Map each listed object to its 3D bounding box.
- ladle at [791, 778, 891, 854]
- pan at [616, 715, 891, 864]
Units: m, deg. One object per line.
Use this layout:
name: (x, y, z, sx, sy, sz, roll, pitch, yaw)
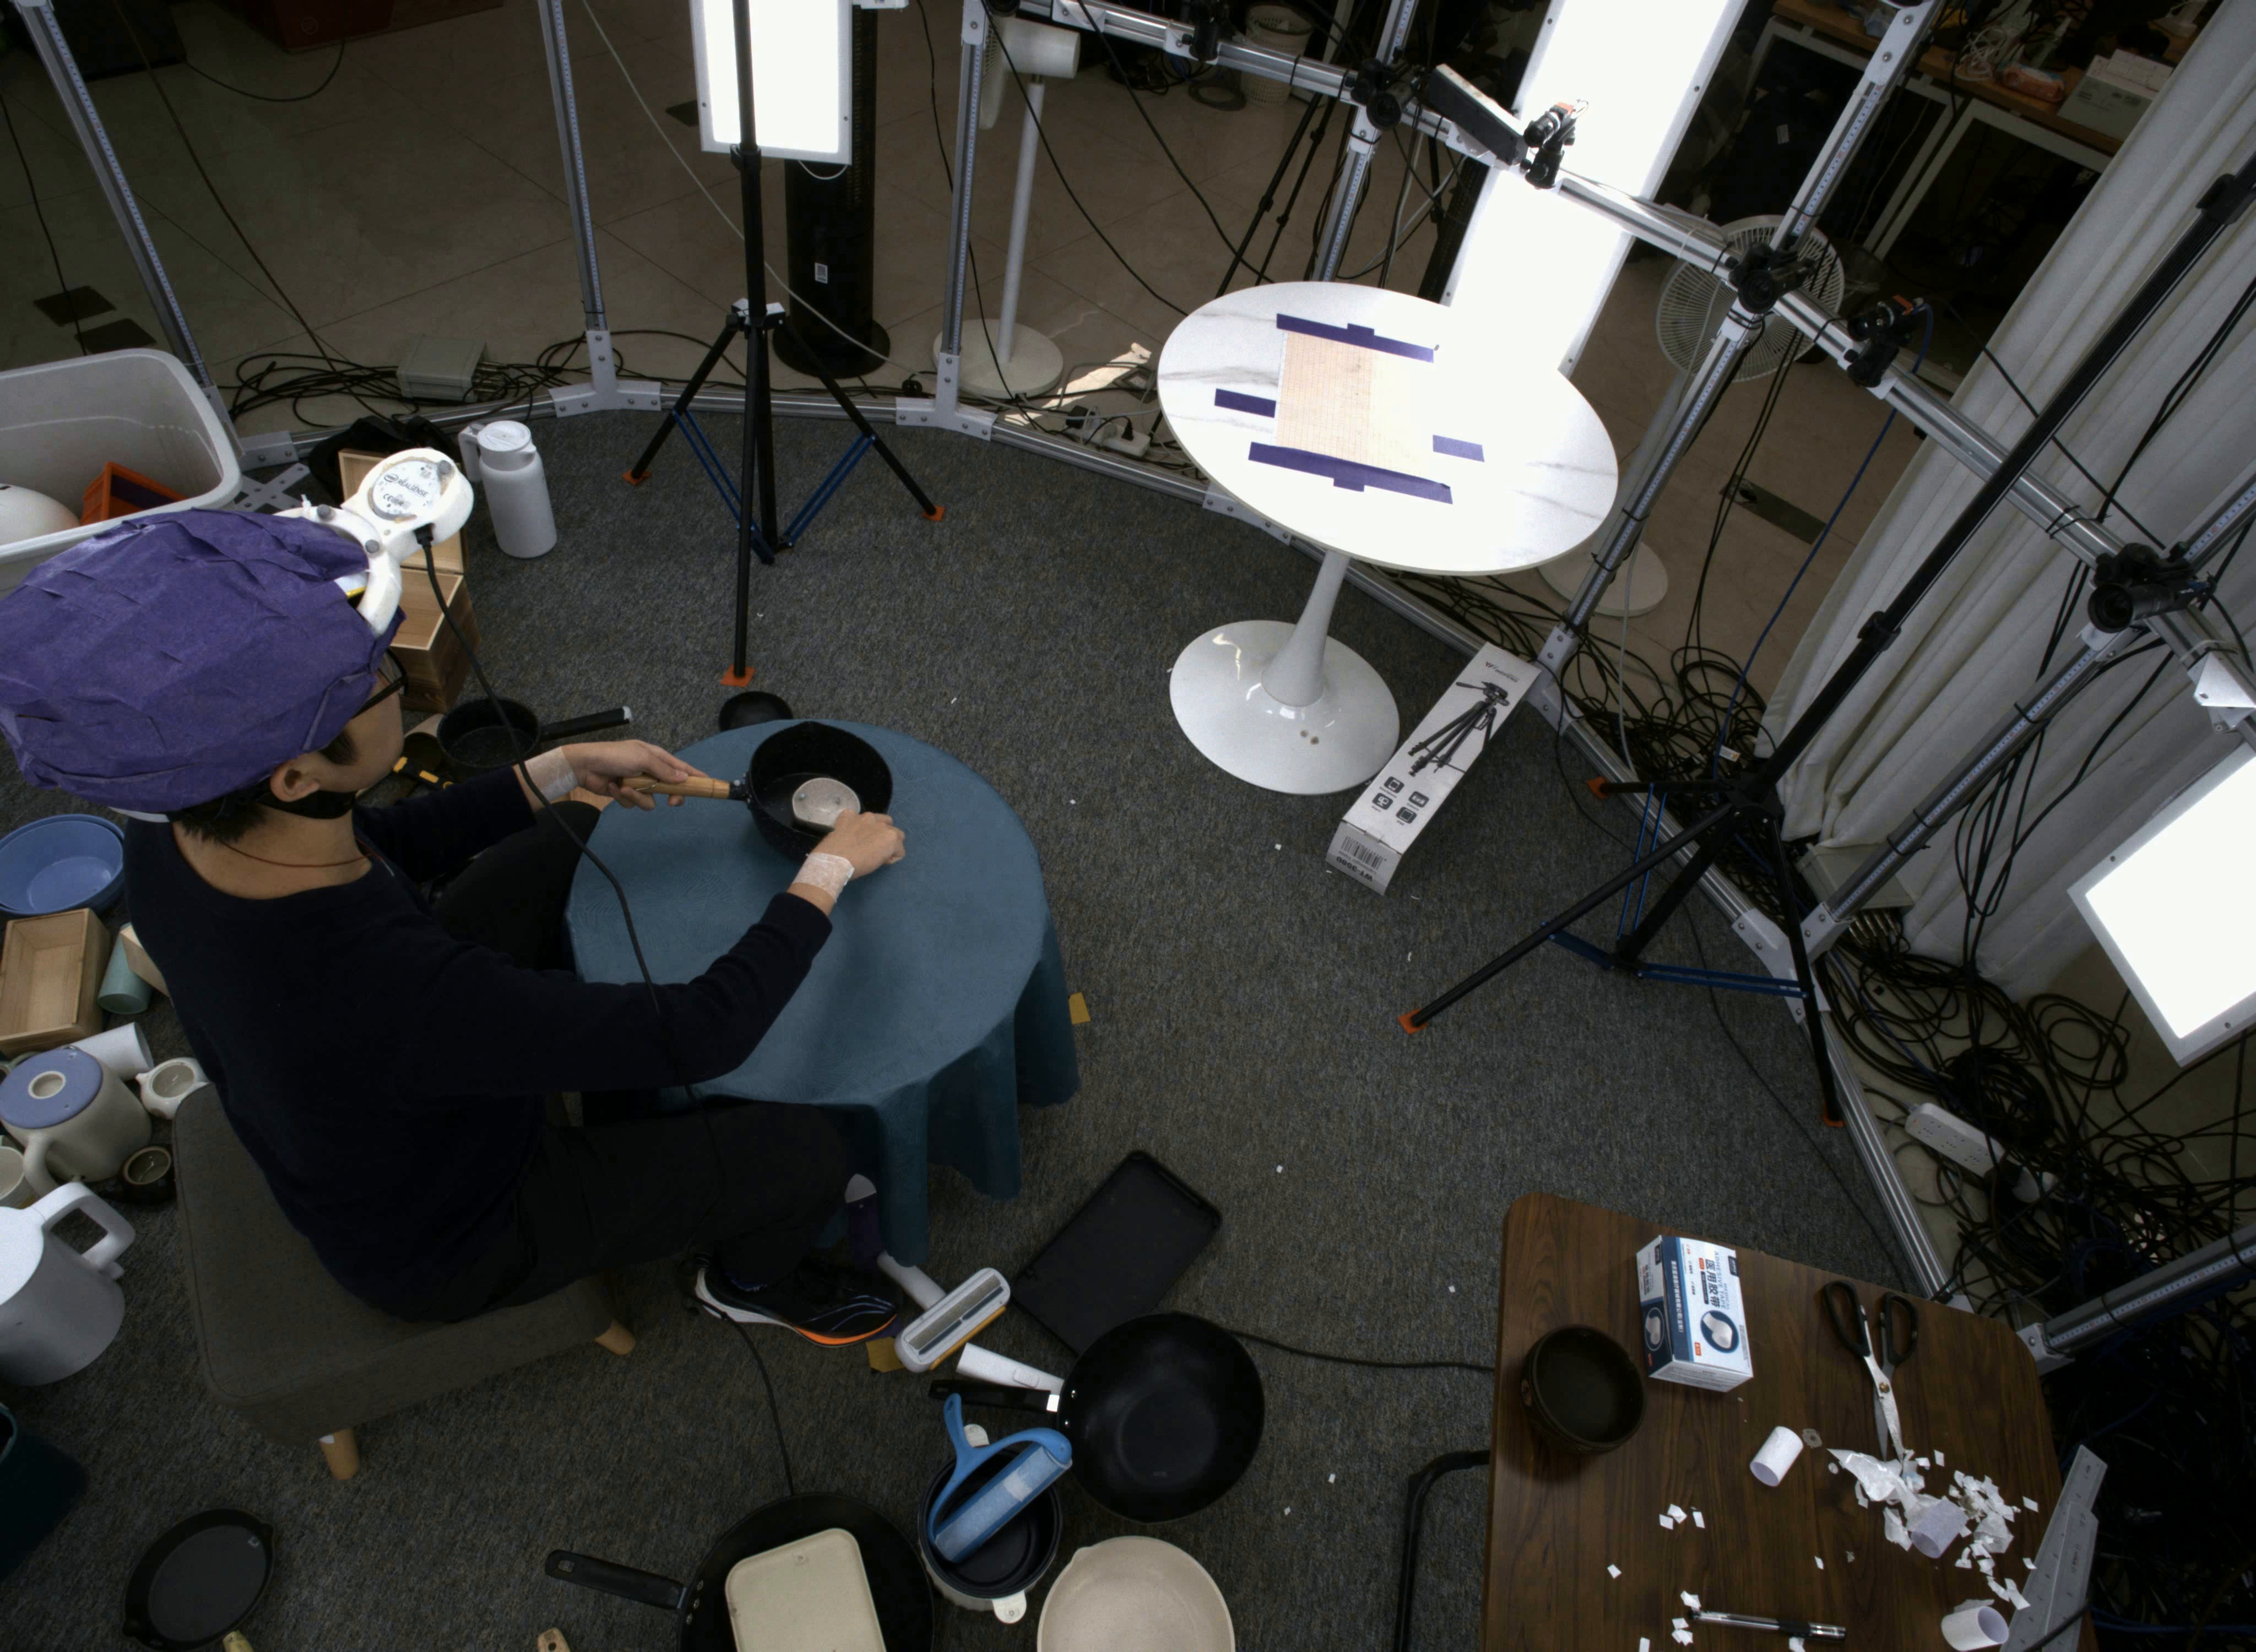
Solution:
ladle: (-0.343, -0.017, 1.600, 0.090, 0.266, 0.070, 0, 96, -30)
pan: (-0.473, -0.040, 1.634, 0.347, 0.109, 0.203, -4, 57, -29)
